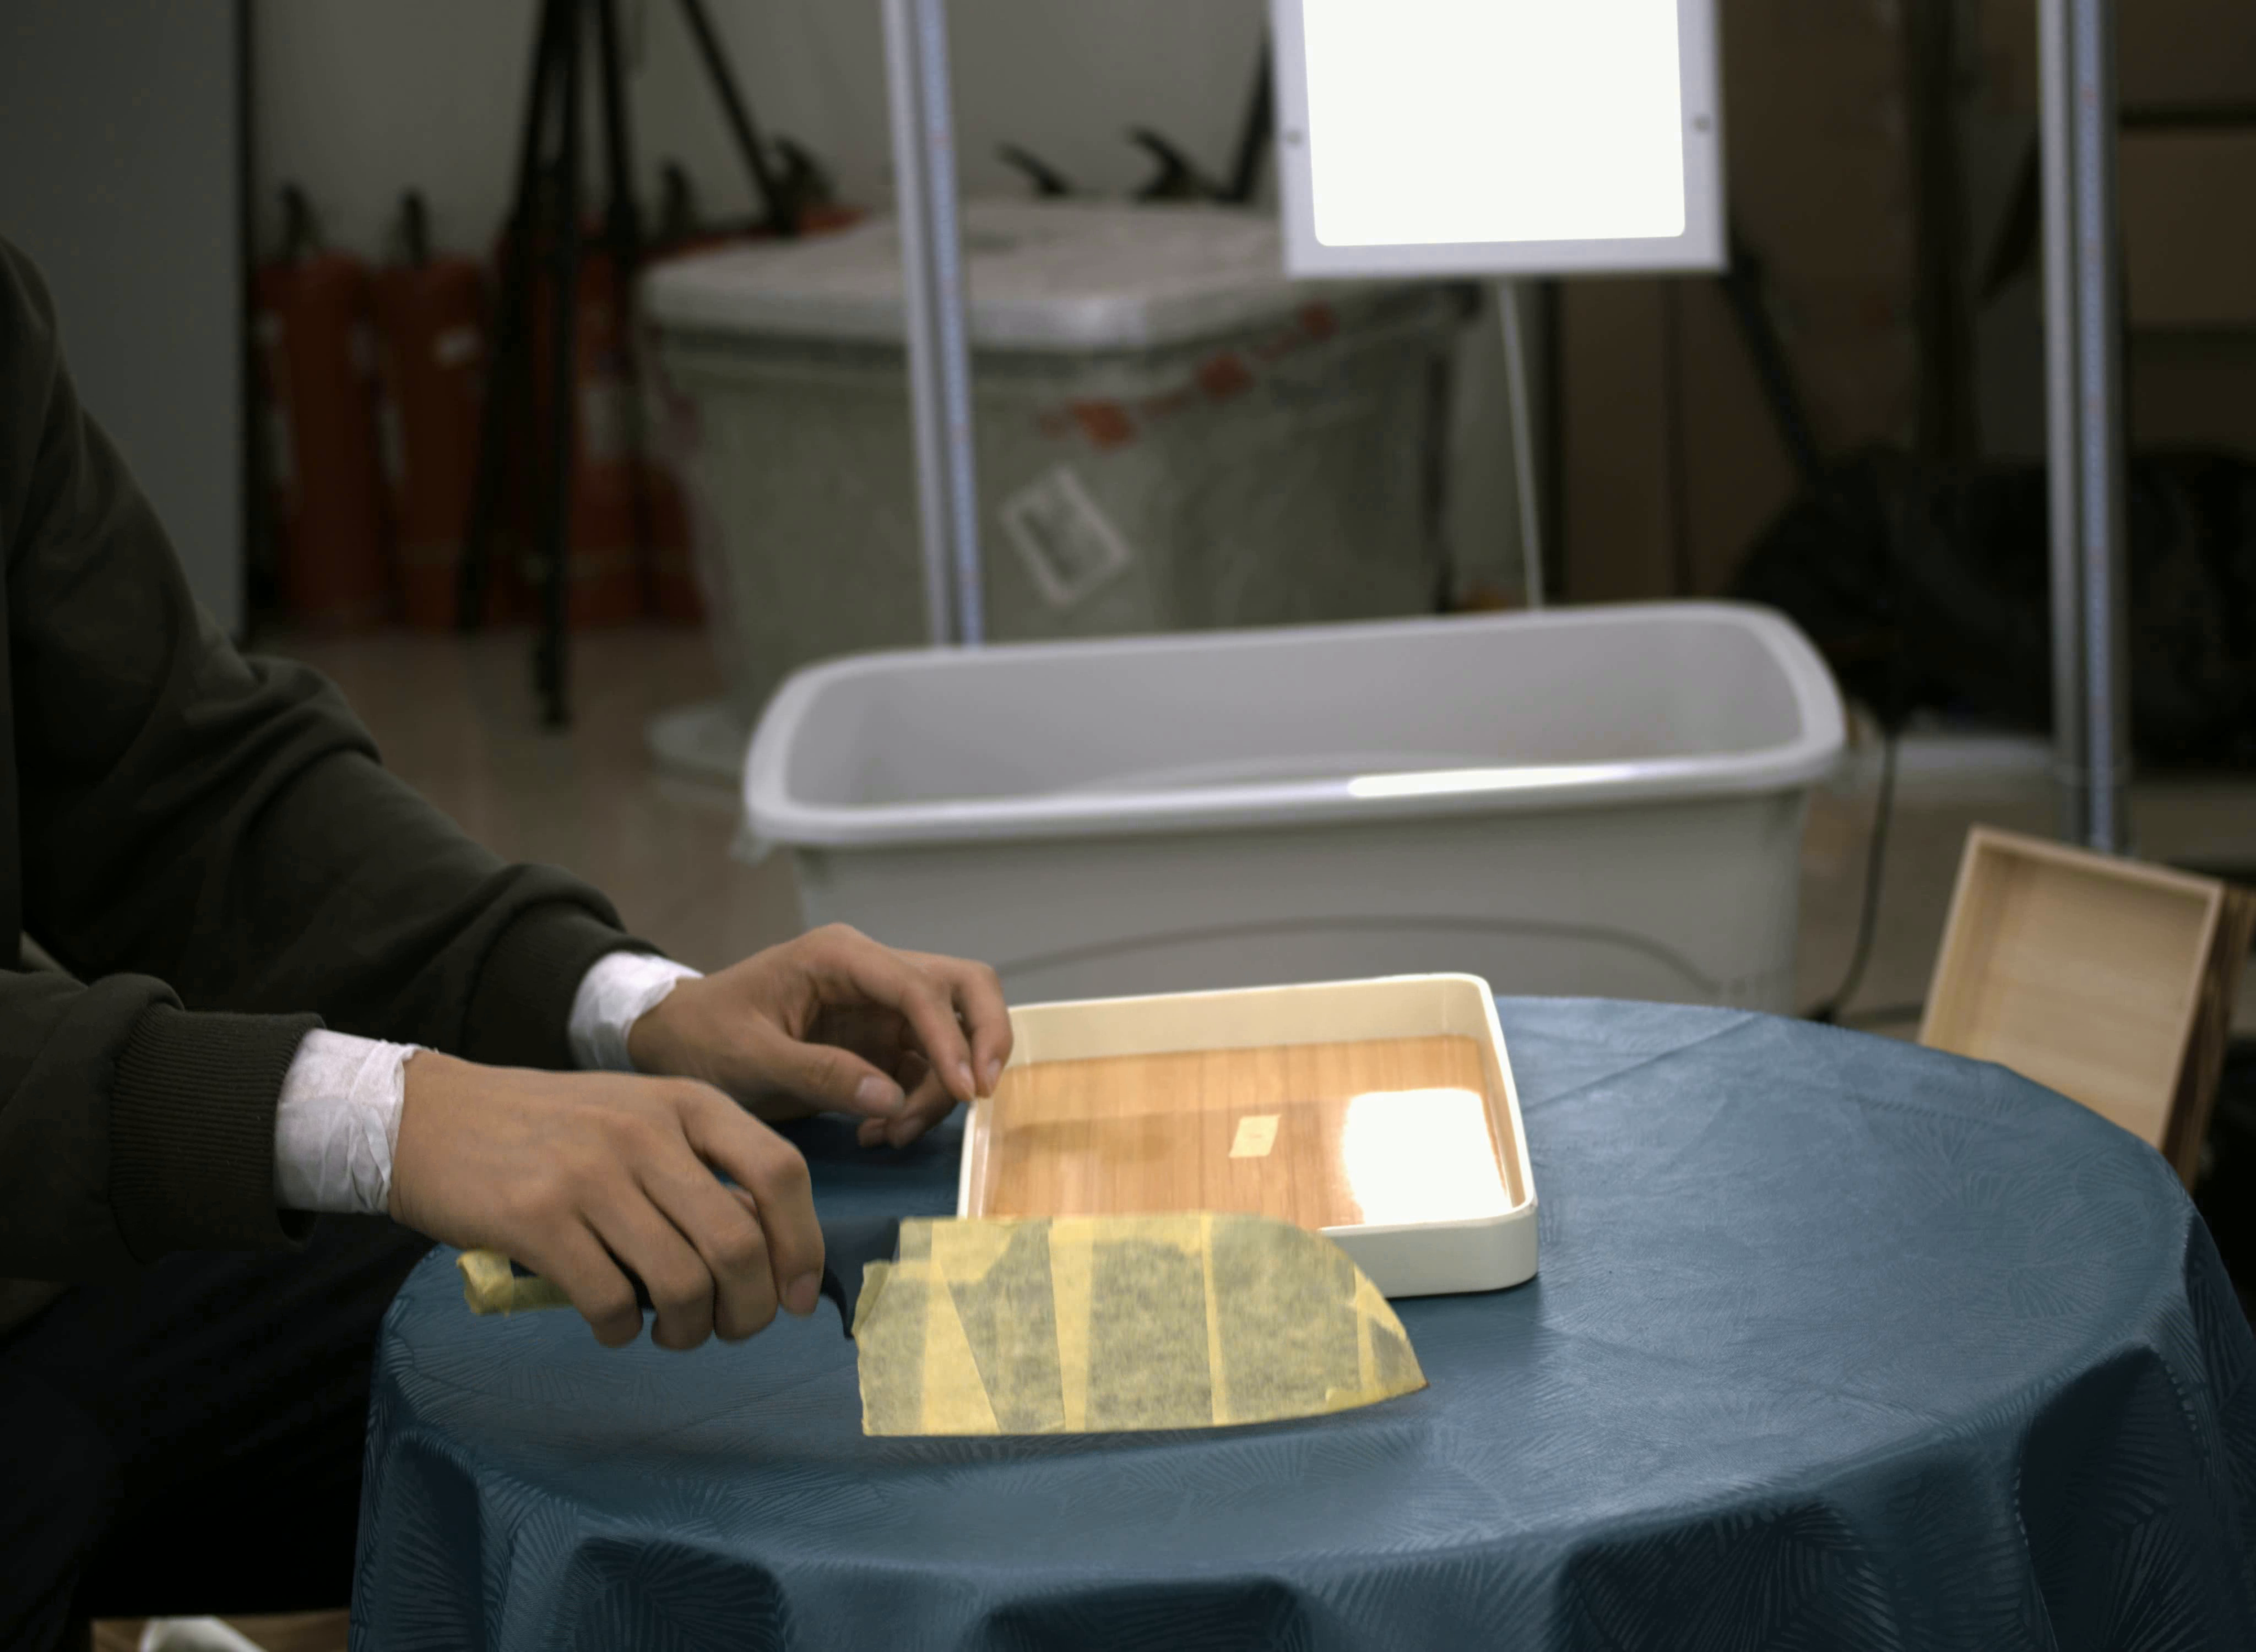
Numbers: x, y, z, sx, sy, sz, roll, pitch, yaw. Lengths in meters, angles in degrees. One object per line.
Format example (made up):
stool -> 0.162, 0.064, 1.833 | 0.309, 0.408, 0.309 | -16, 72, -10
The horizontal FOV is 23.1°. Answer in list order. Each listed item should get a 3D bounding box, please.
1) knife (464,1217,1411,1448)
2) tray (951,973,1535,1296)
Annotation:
knife -> -0.057, 0.153, 1.672 | 0.289, 0.027, 0.081 | 0, 54, 1
tray -> 0.039, 0.108, 1.908 | 0.191, 0.027, 0.299 | -5, 13, 3
